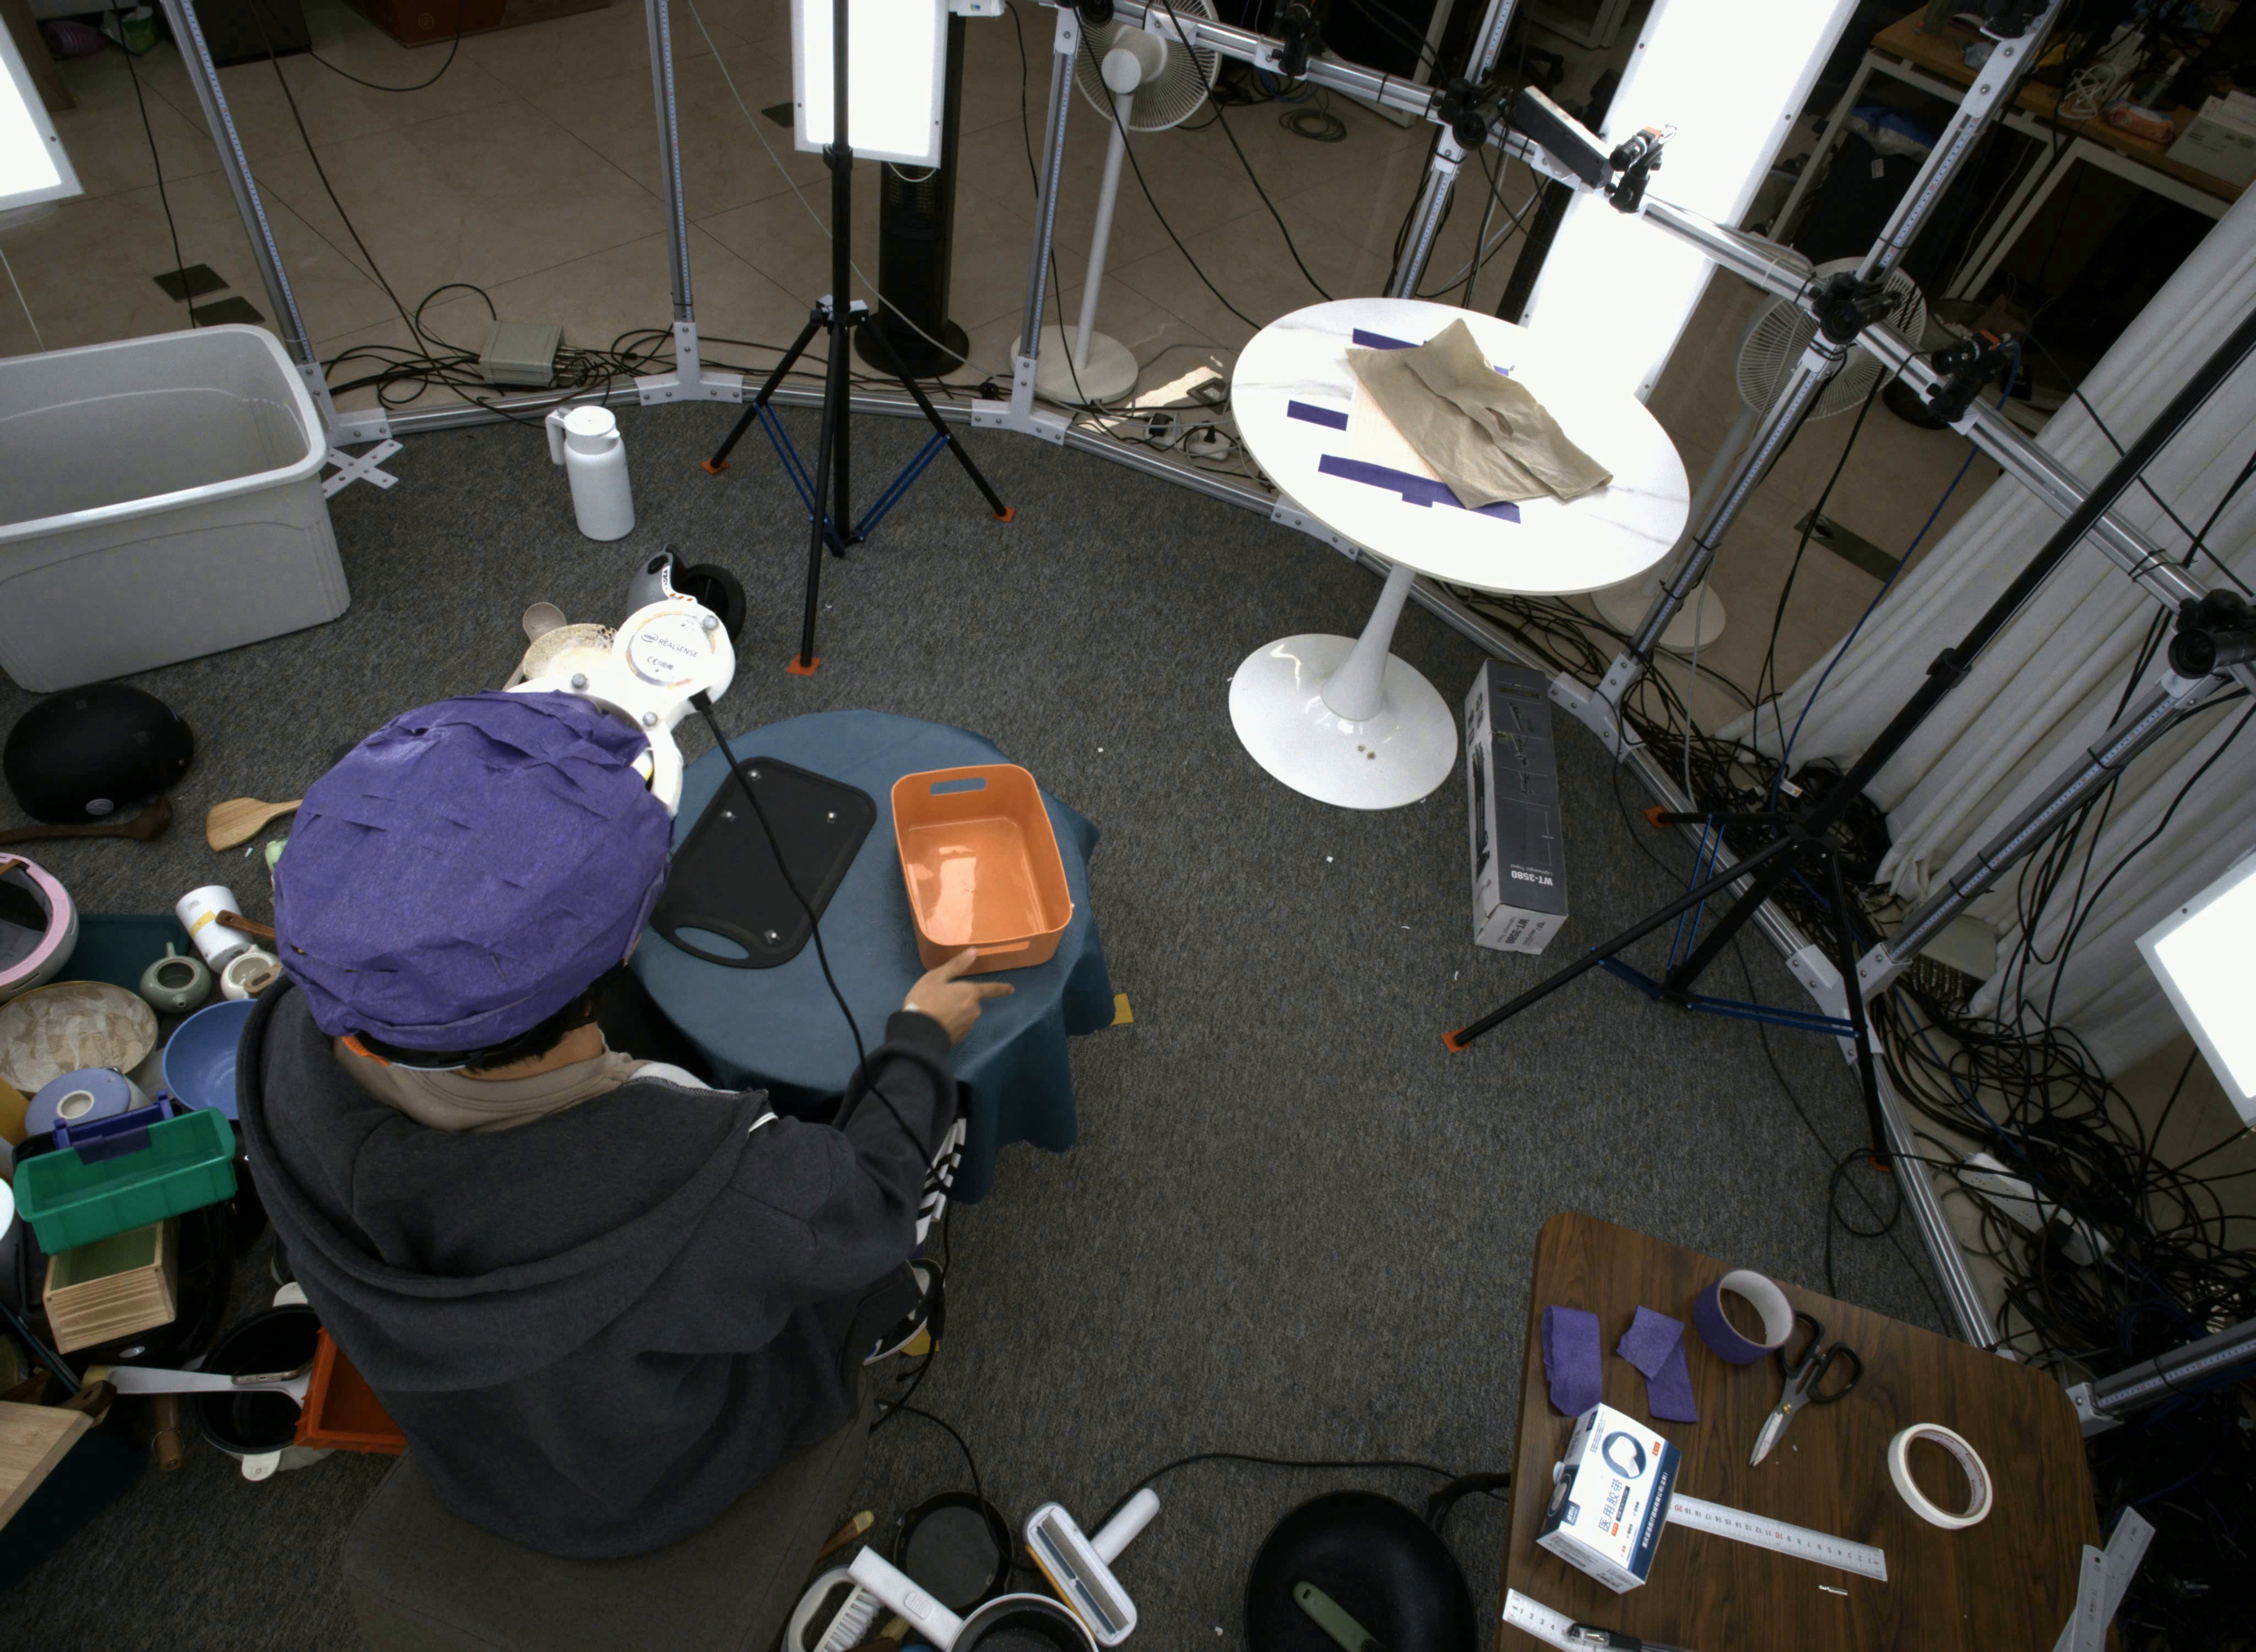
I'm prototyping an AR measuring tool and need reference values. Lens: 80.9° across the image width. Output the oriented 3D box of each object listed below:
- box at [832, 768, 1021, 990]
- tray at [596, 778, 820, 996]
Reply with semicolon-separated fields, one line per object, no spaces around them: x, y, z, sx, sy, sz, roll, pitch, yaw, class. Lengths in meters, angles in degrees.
-0.261;0.069;1.652;0.200;0.104;0.266;-10;56;-21;box
-0.535;0.072;1.642;0.209;0.010;0.321;17;52;-1;tray
